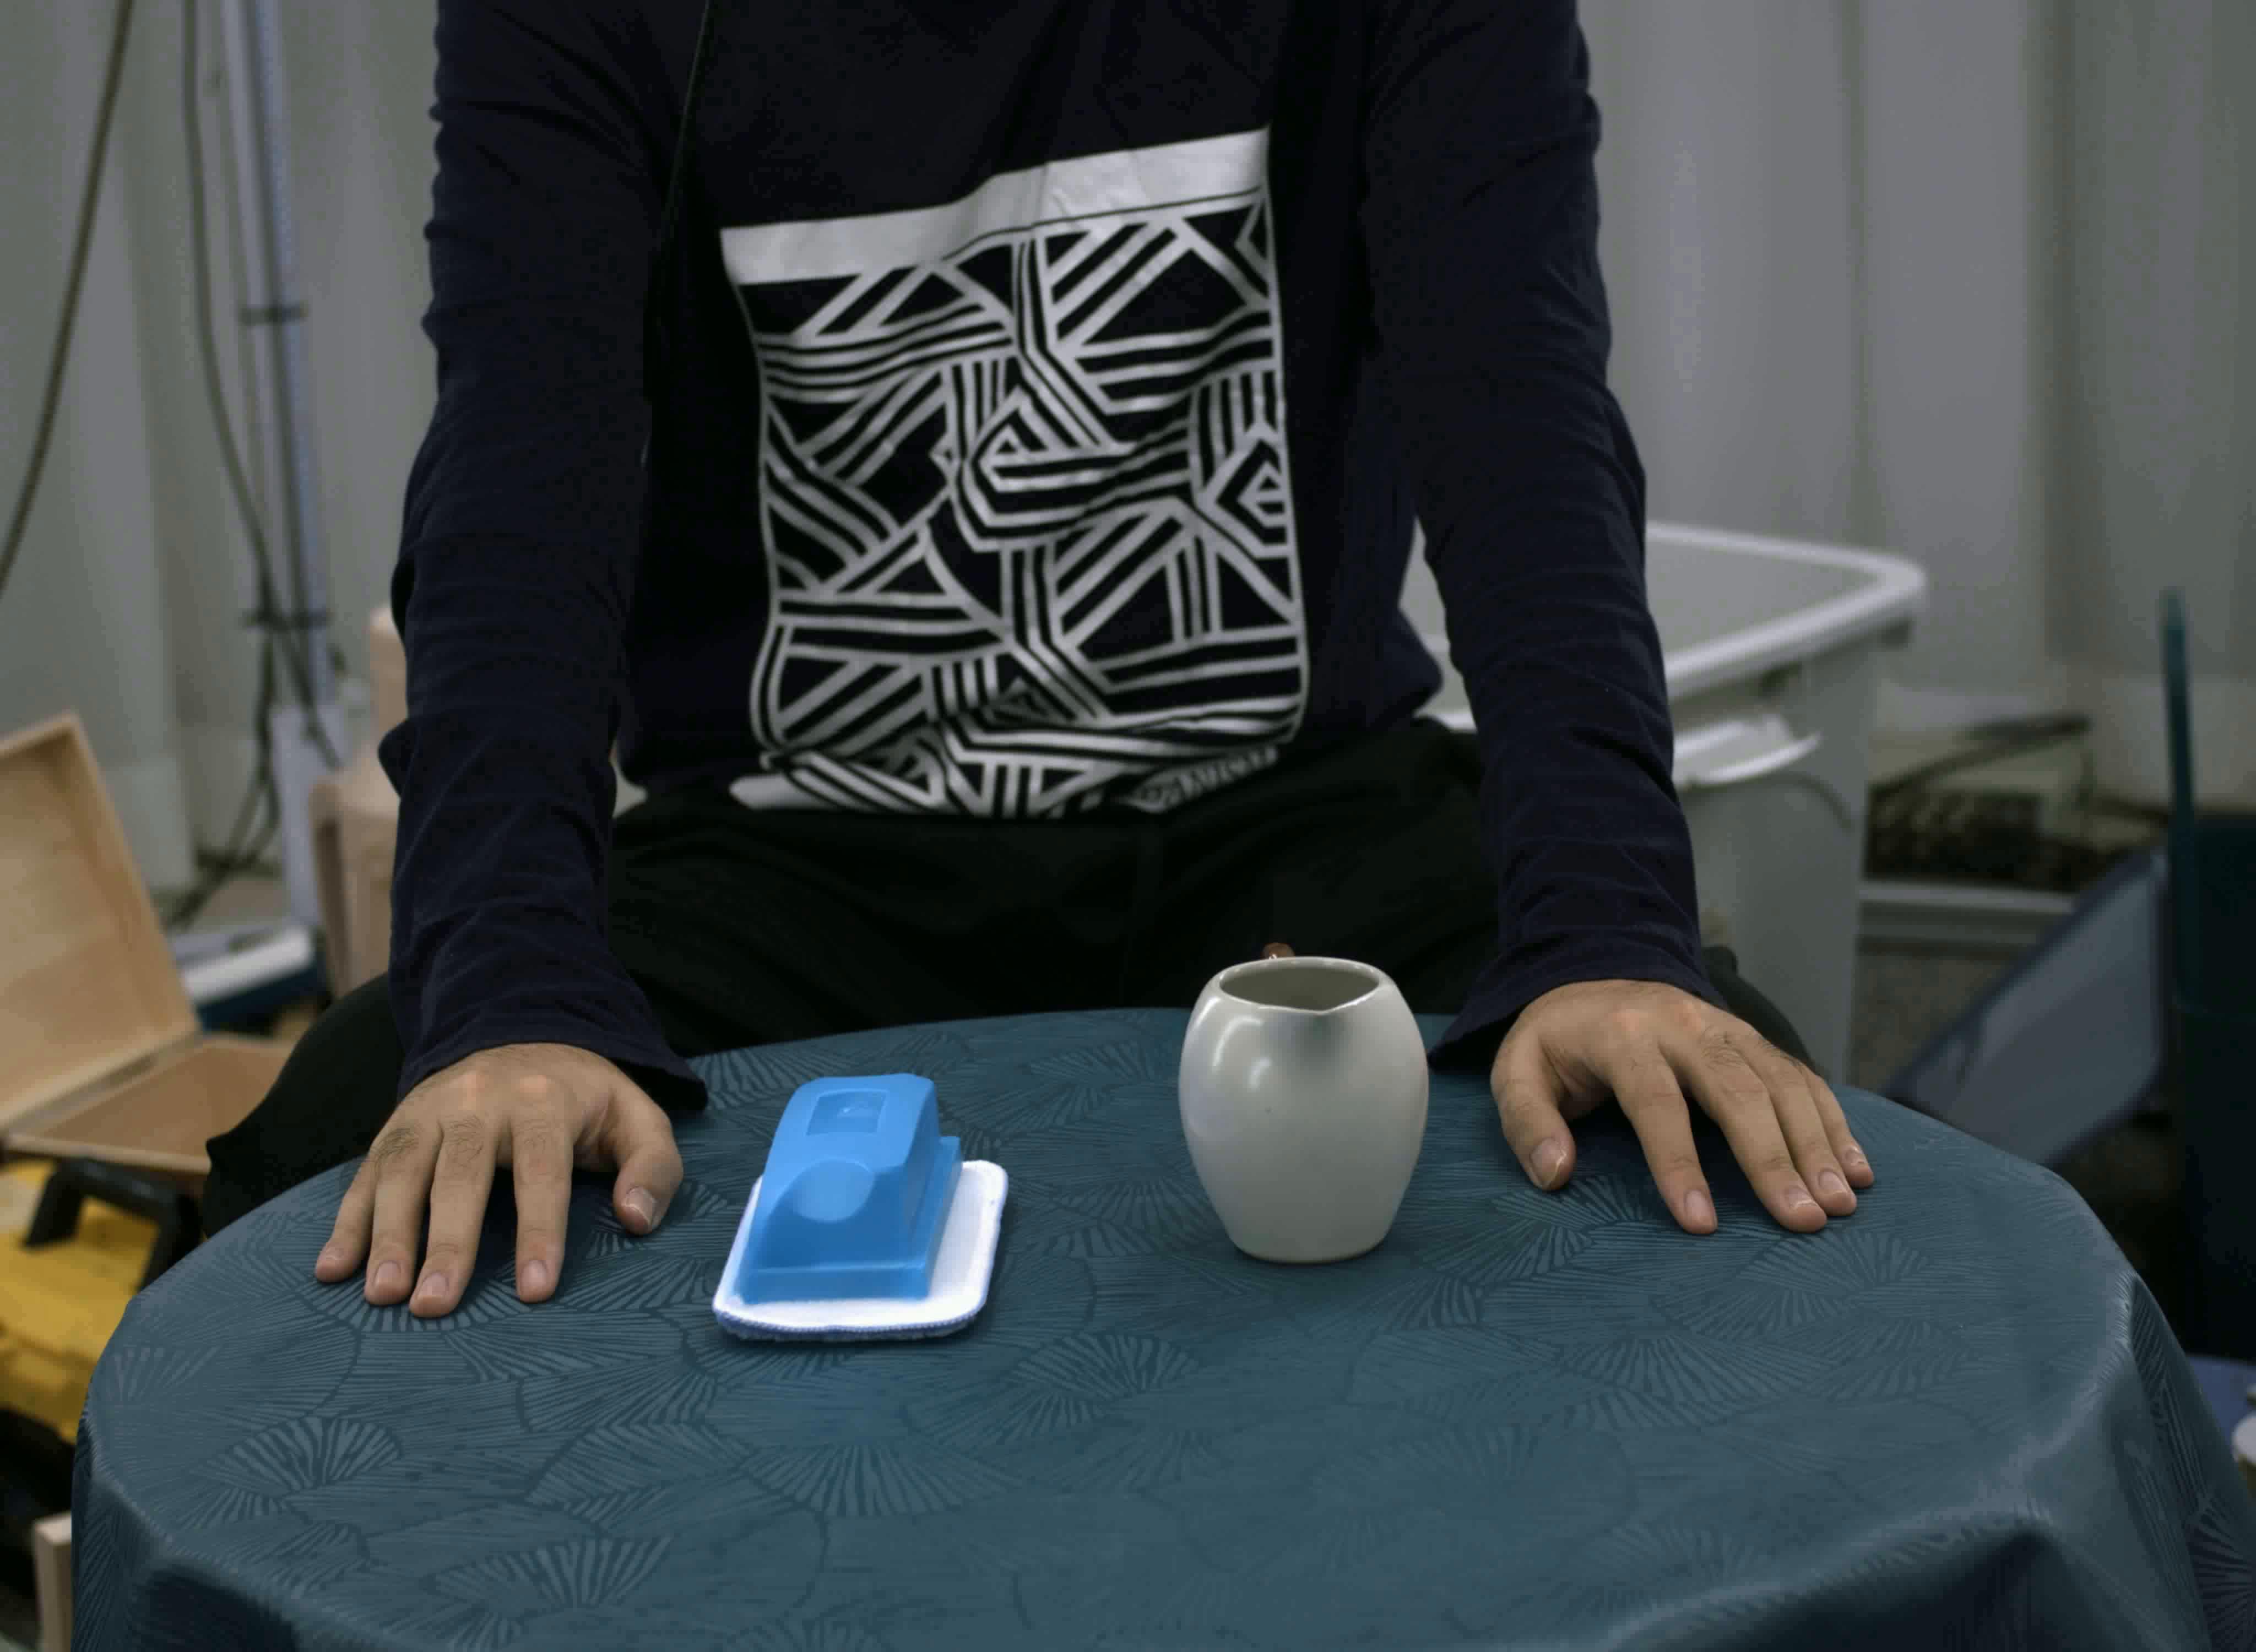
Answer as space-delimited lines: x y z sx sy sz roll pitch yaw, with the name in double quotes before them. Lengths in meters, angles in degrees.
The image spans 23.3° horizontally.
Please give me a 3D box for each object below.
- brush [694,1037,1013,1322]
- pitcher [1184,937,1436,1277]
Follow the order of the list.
"brush" -0.082 0.104 1.656 0.083 0.055 0.145 1 18 6
"pitcher" 0.054 0.084 1.650 0.075 0.087 0.120 2 19 -1
